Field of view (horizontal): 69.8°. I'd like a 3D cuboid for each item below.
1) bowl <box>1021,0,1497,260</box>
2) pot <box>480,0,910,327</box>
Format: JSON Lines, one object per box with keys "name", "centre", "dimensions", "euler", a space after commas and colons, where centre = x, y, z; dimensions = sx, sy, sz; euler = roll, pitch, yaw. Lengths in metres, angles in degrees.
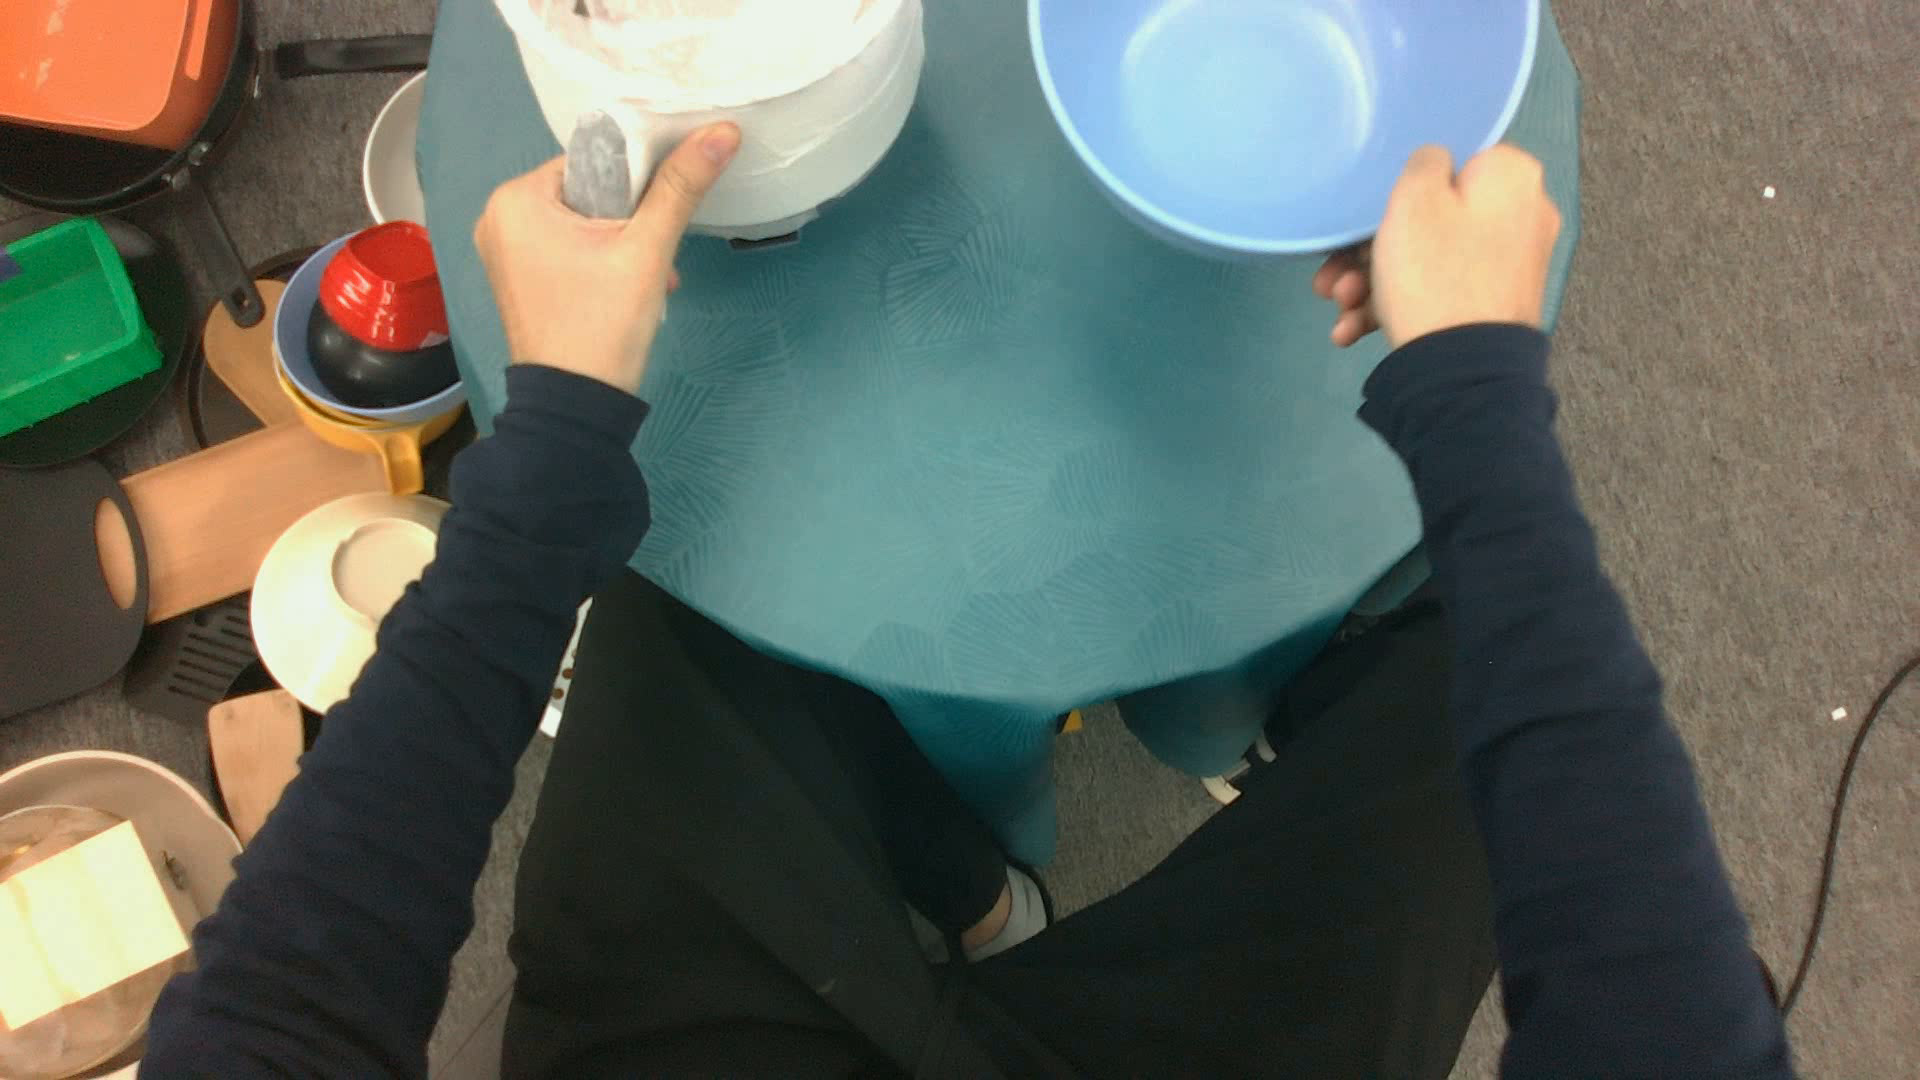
{"name": "bowl", "centre": [0.121, -0.205, 0.606], "dimensions": [0.196, 0.095, 0.197], "euler": [0, 78, -2]}
{"name": "pot", "centre": [-0.120, -0.215, 0.605], "dimensions": [0.178, 0.136, 0.234], "euler": [16, 76, 6]}
